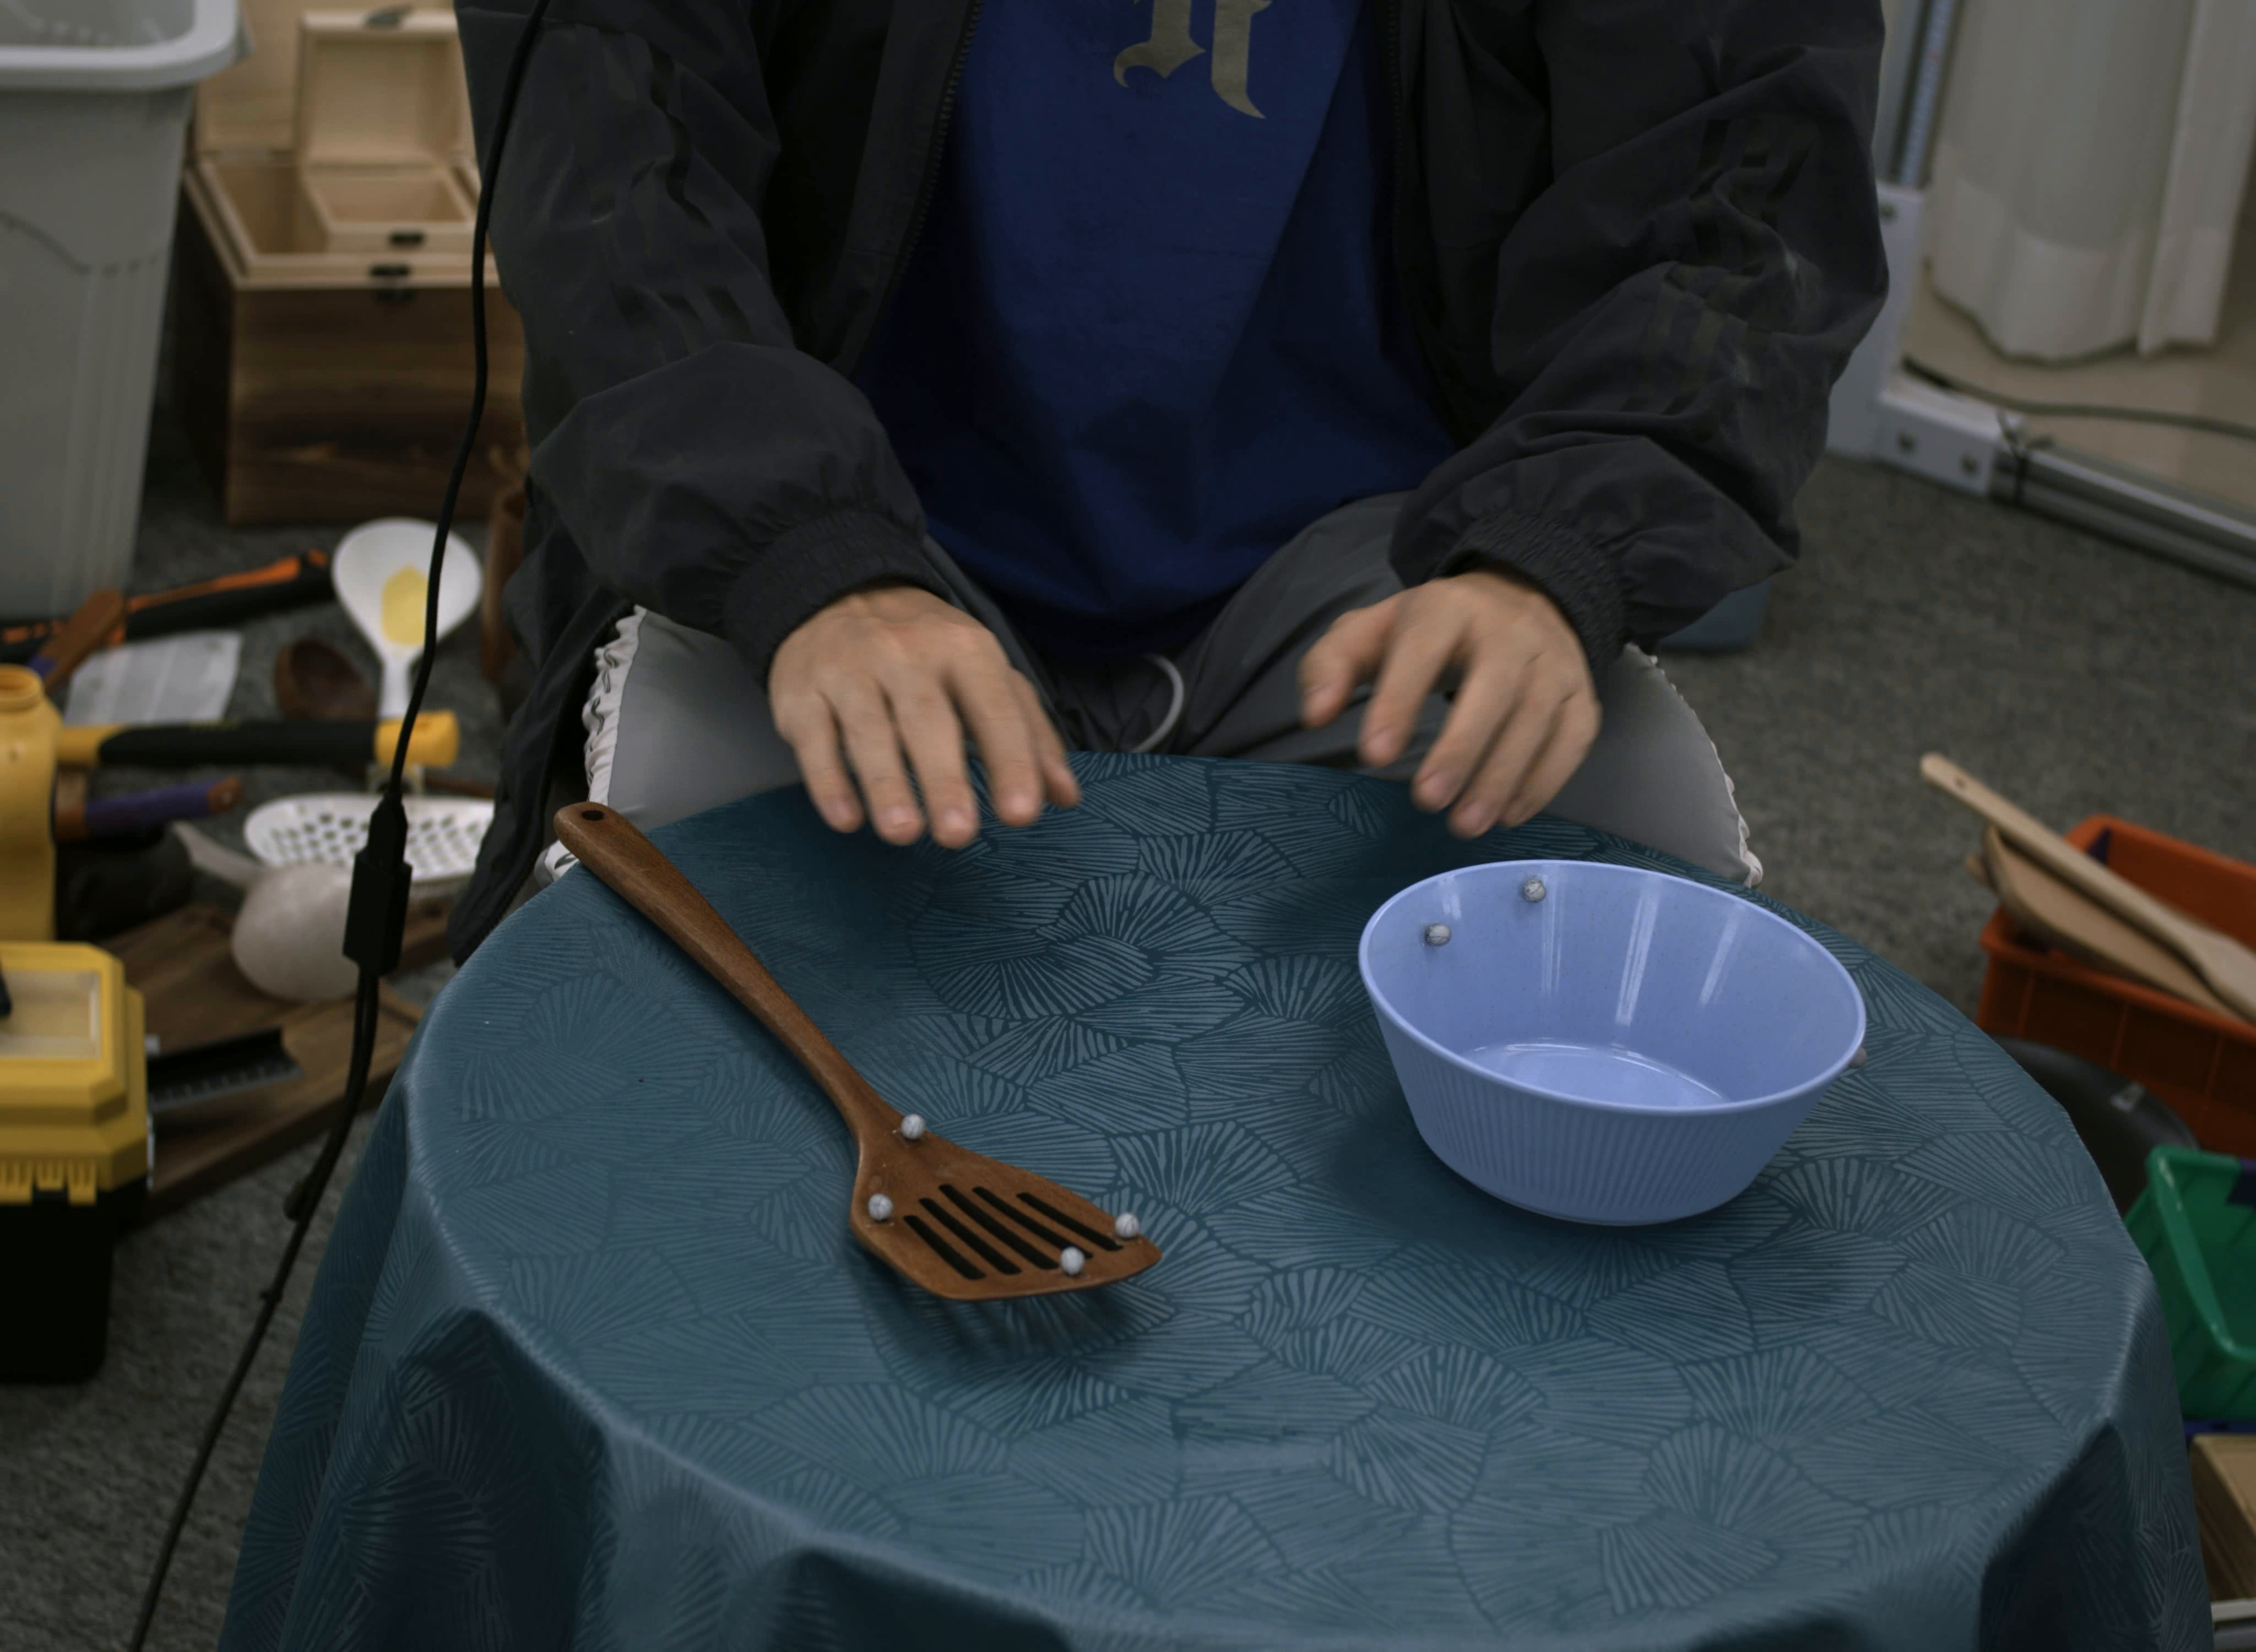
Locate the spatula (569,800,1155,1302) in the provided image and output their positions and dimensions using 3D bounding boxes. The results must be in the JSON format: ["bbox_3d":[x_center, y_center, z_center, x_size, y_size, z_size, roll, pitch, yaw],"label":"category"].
[{"bbox_3d":[-0.113,0.076,1.851,0.085,0.024,0.390,-8,29,-28],"label":"spatula"}]

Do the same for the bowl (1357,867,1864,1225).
[{"bbox_3d":[0.163,0.082,1.845,0.175,0.070,0.177,5,26,-3],"label":"bowl"}]
